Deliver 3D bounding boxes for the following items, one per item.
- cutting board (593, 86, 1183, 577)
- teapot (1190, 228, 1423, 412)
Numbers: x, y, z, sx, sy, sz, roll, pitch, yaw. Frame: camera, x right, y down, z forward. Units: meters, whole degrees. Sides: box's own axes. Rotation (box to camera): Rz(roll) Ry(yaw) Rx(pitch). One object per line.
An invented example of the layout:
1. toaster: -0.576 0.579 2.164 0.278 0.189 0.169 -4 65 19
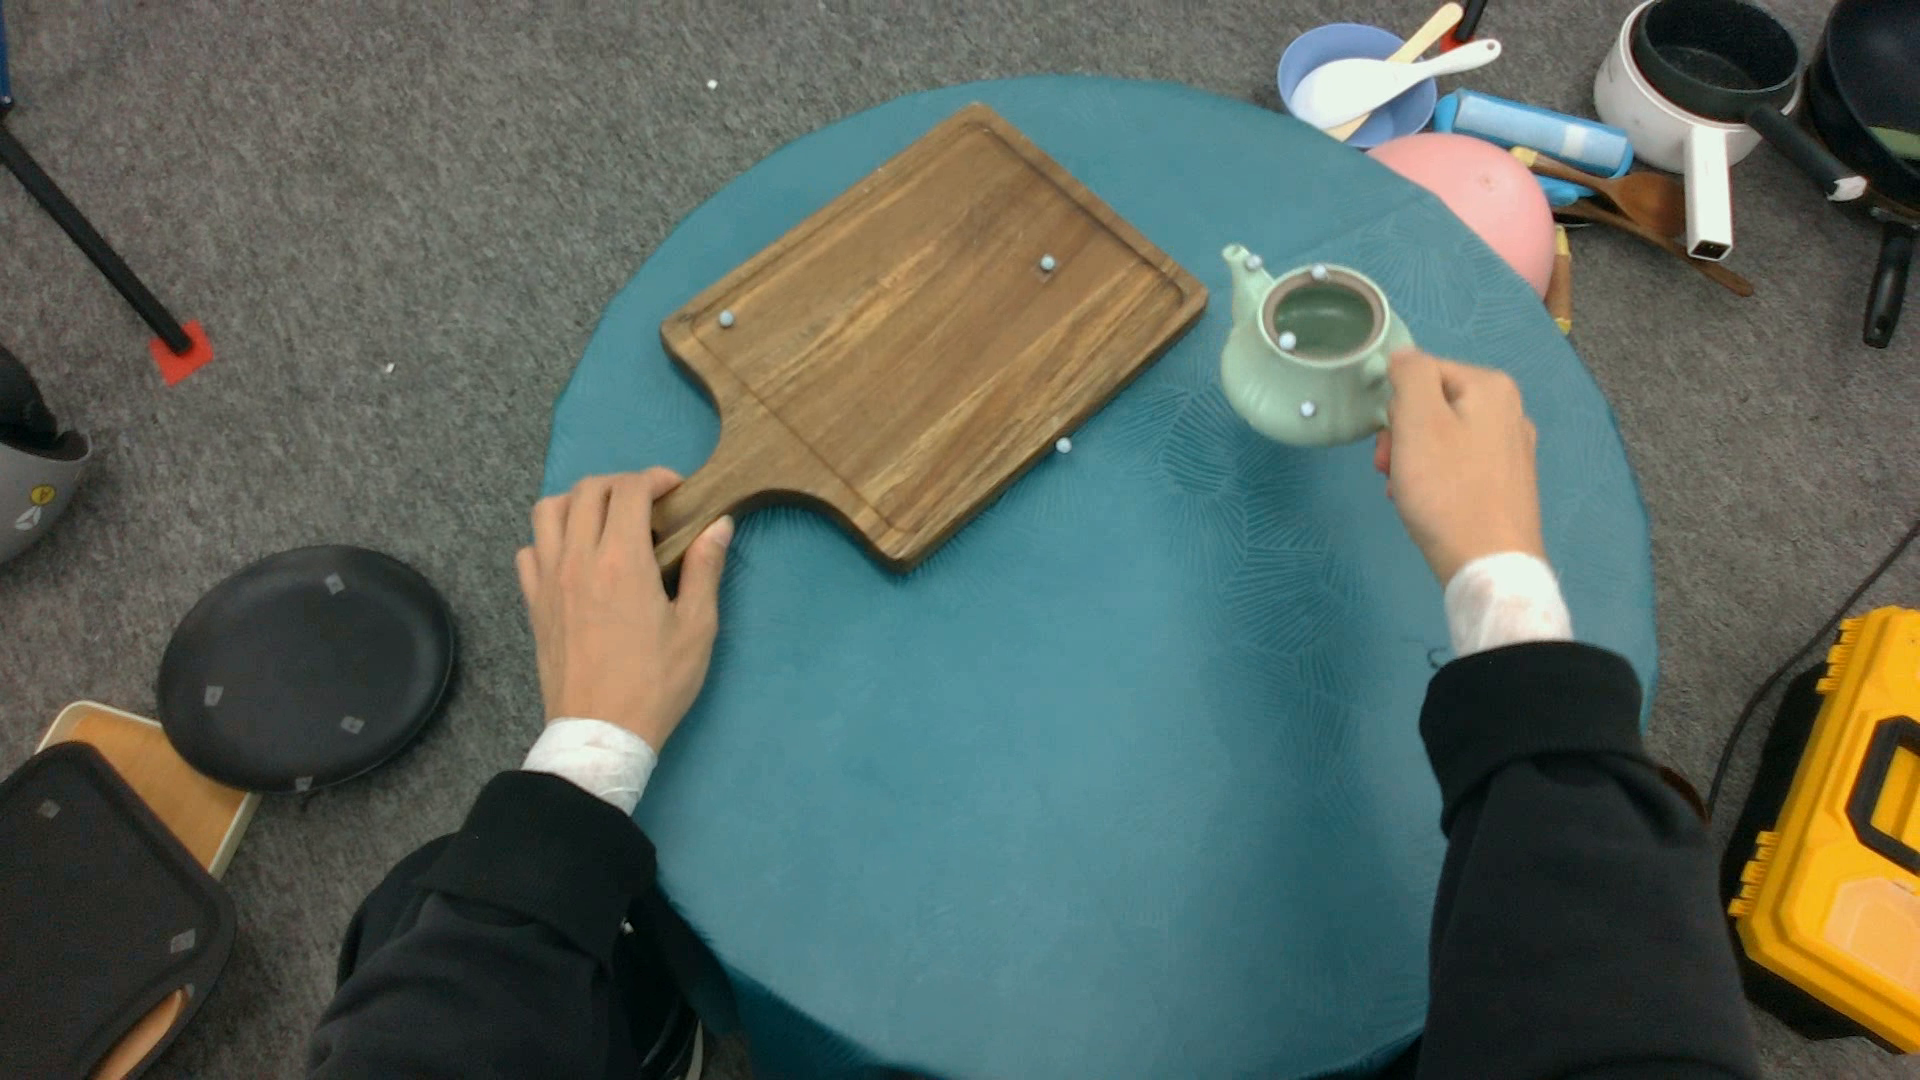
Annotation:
1. cutting board: -0.058 -0.102 0.748 0.201 0.023 0.353 41 67 14
2. teapot: 0.174 -0.111 0.682 0.096 0.061 0.137 -48 53 -1
